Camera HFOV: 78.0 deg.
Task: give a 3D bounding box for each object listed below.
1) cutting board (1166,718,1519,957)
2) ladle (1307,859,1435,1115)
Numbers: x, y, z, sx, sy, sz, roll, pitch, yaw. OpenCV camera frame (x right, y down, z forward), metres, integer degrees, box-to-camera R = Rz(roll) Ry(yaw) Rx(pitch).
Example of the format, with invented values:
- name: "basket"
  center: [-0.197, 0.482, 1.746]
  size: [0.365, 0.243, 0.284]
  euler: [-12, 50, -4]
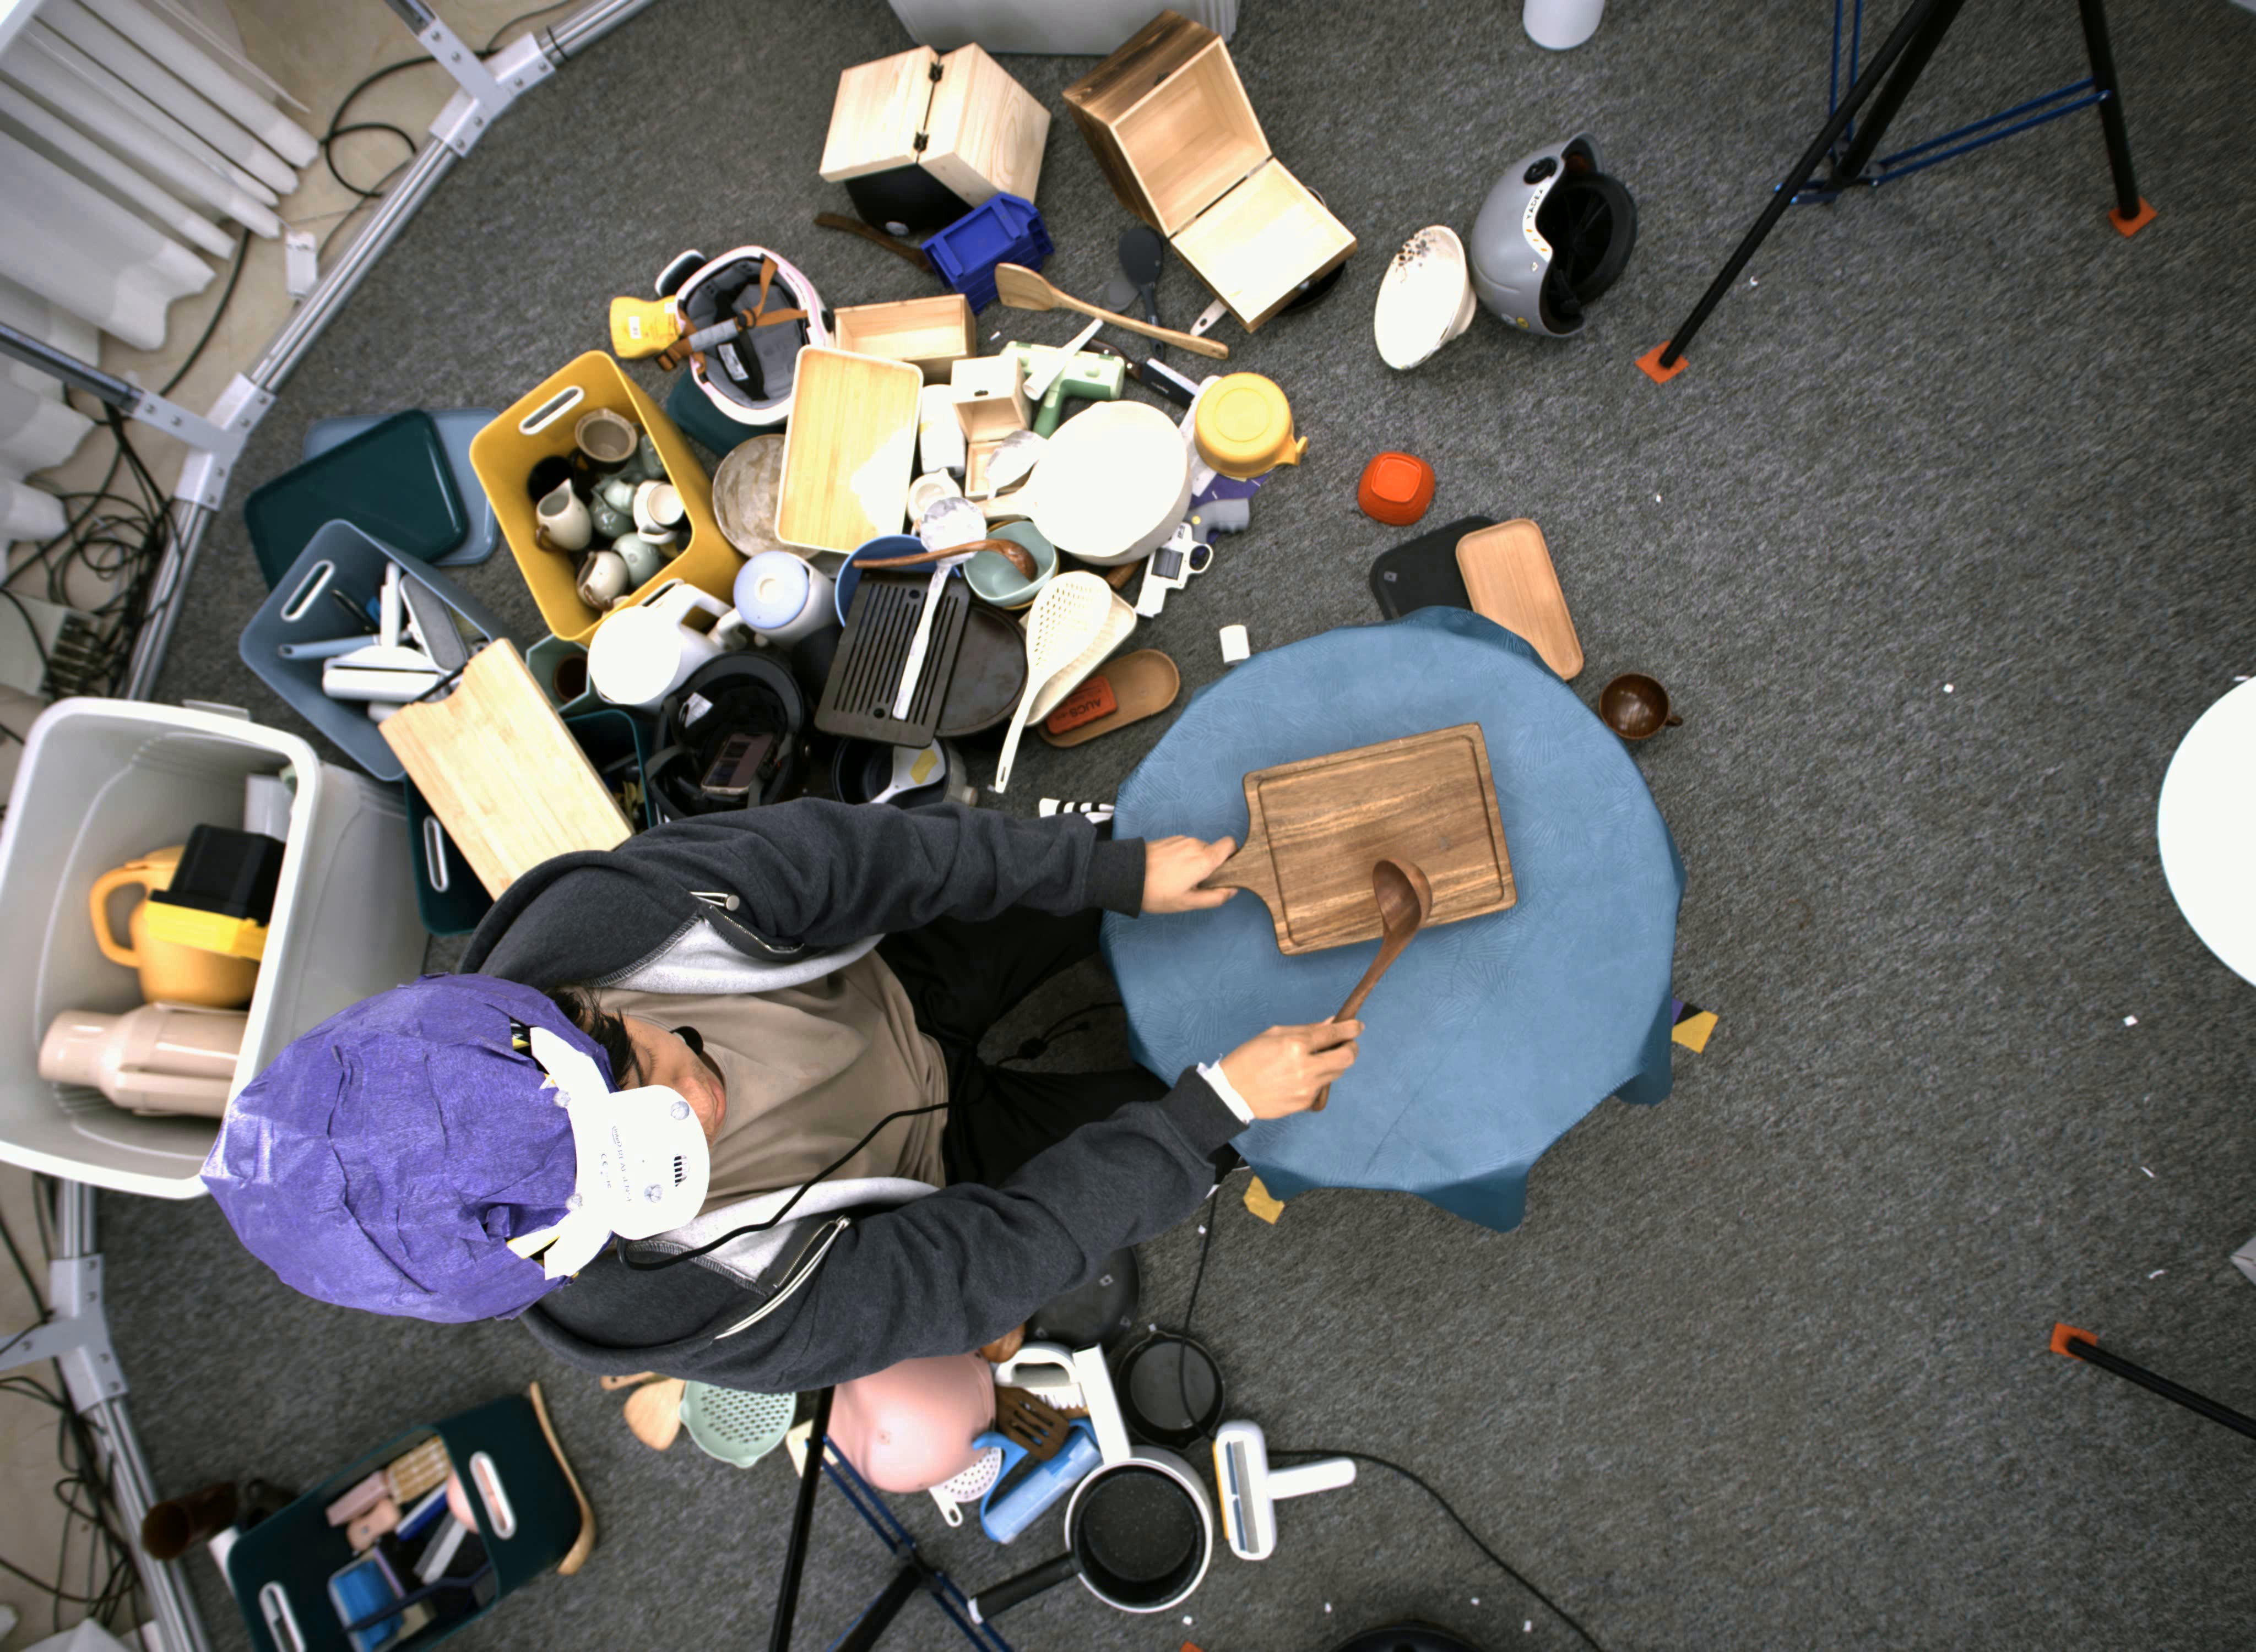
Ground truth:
- name: "cutting board"
  center: [0.211, 0.022, 1.422]
  size: [0.353, 0.023, 0.201]
  euler: [-13, 95, 4]
- name: "ladle"
  center: [0.217, 0.153, 1.314]
  size: [0.065, 0.076, 0.262]
  euler: [22, 99, -29]
